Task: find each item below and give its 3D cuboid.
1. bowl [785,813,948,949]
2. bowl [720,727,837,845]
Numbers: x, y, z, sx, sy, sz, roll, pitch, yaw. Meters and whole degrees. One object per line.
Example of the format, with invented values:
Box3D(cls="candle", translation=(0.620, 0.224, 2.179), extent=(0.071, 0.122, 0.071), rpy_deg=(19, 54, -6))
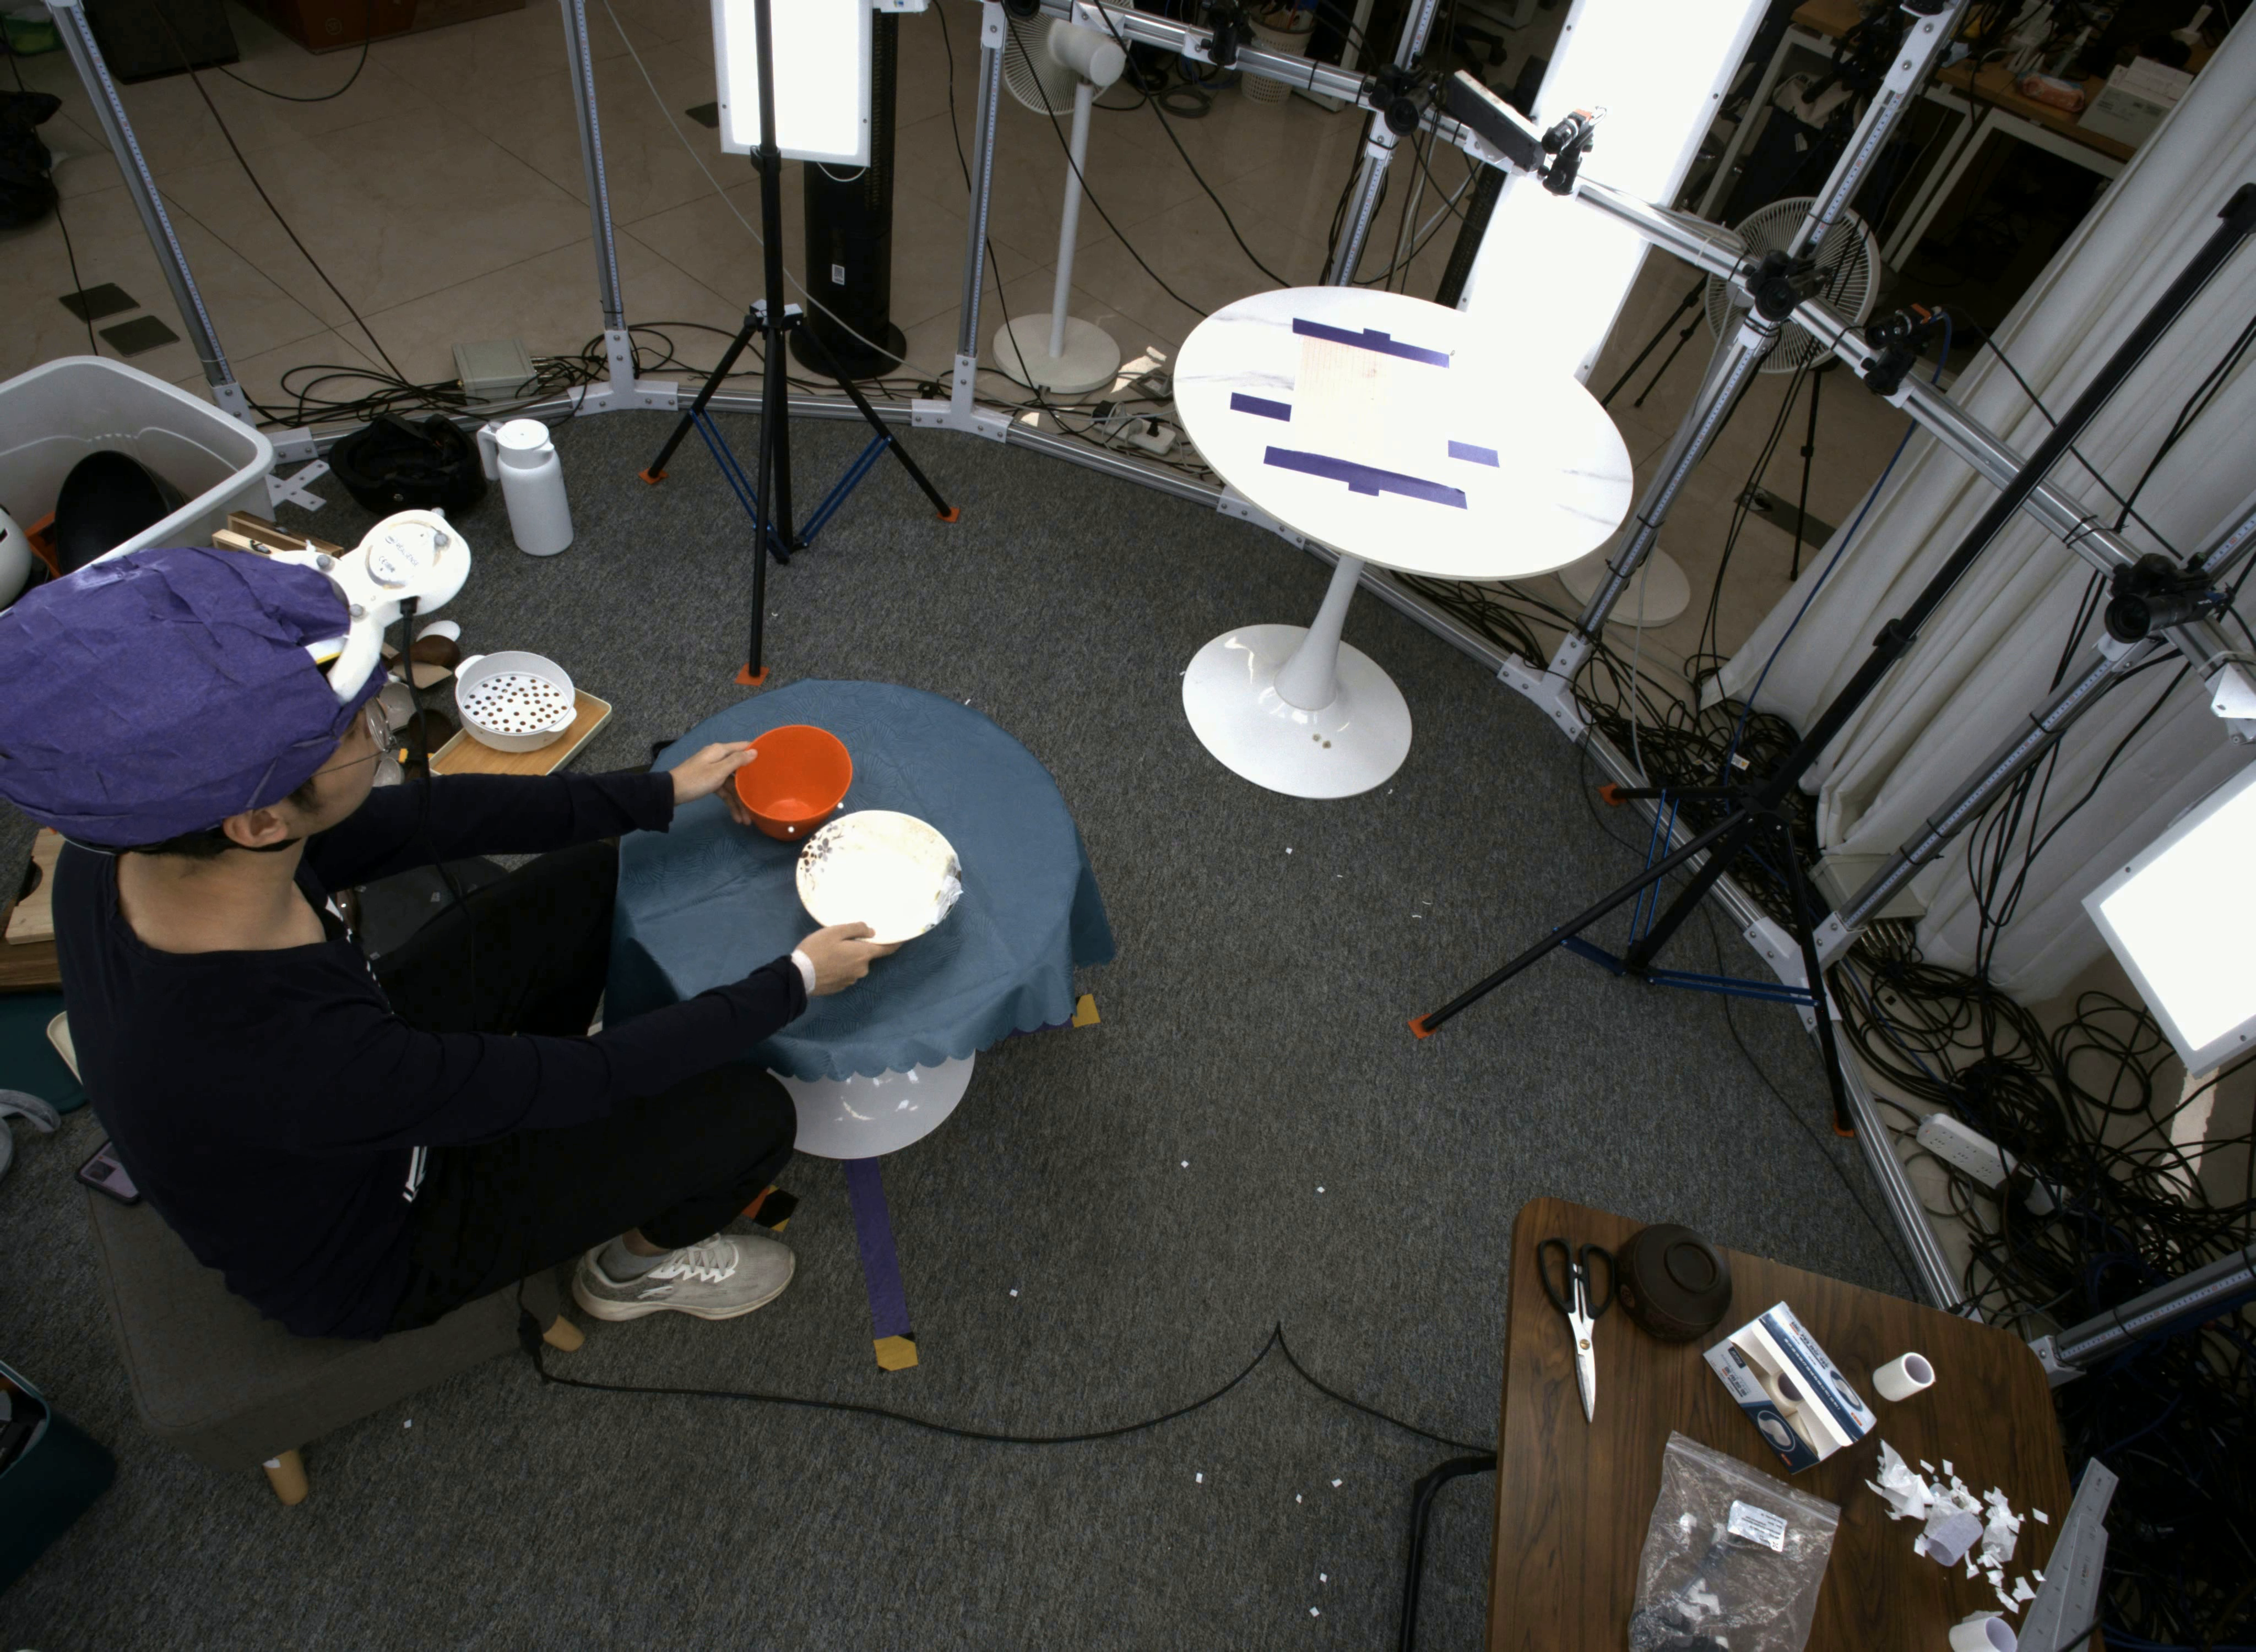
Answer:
Box3D(cls="bowl", translation=(-0.328, 0.086, 1.651), extent=(0.203, 0.080, 0.200), rpy_deg=(5, 54, -5))
Box3D(cls="bowl", translation=(-0.455, -0.041, 1.693), extent=(0.147, 0.107, 0.145), rpy_deg=(7, 51, -8))
